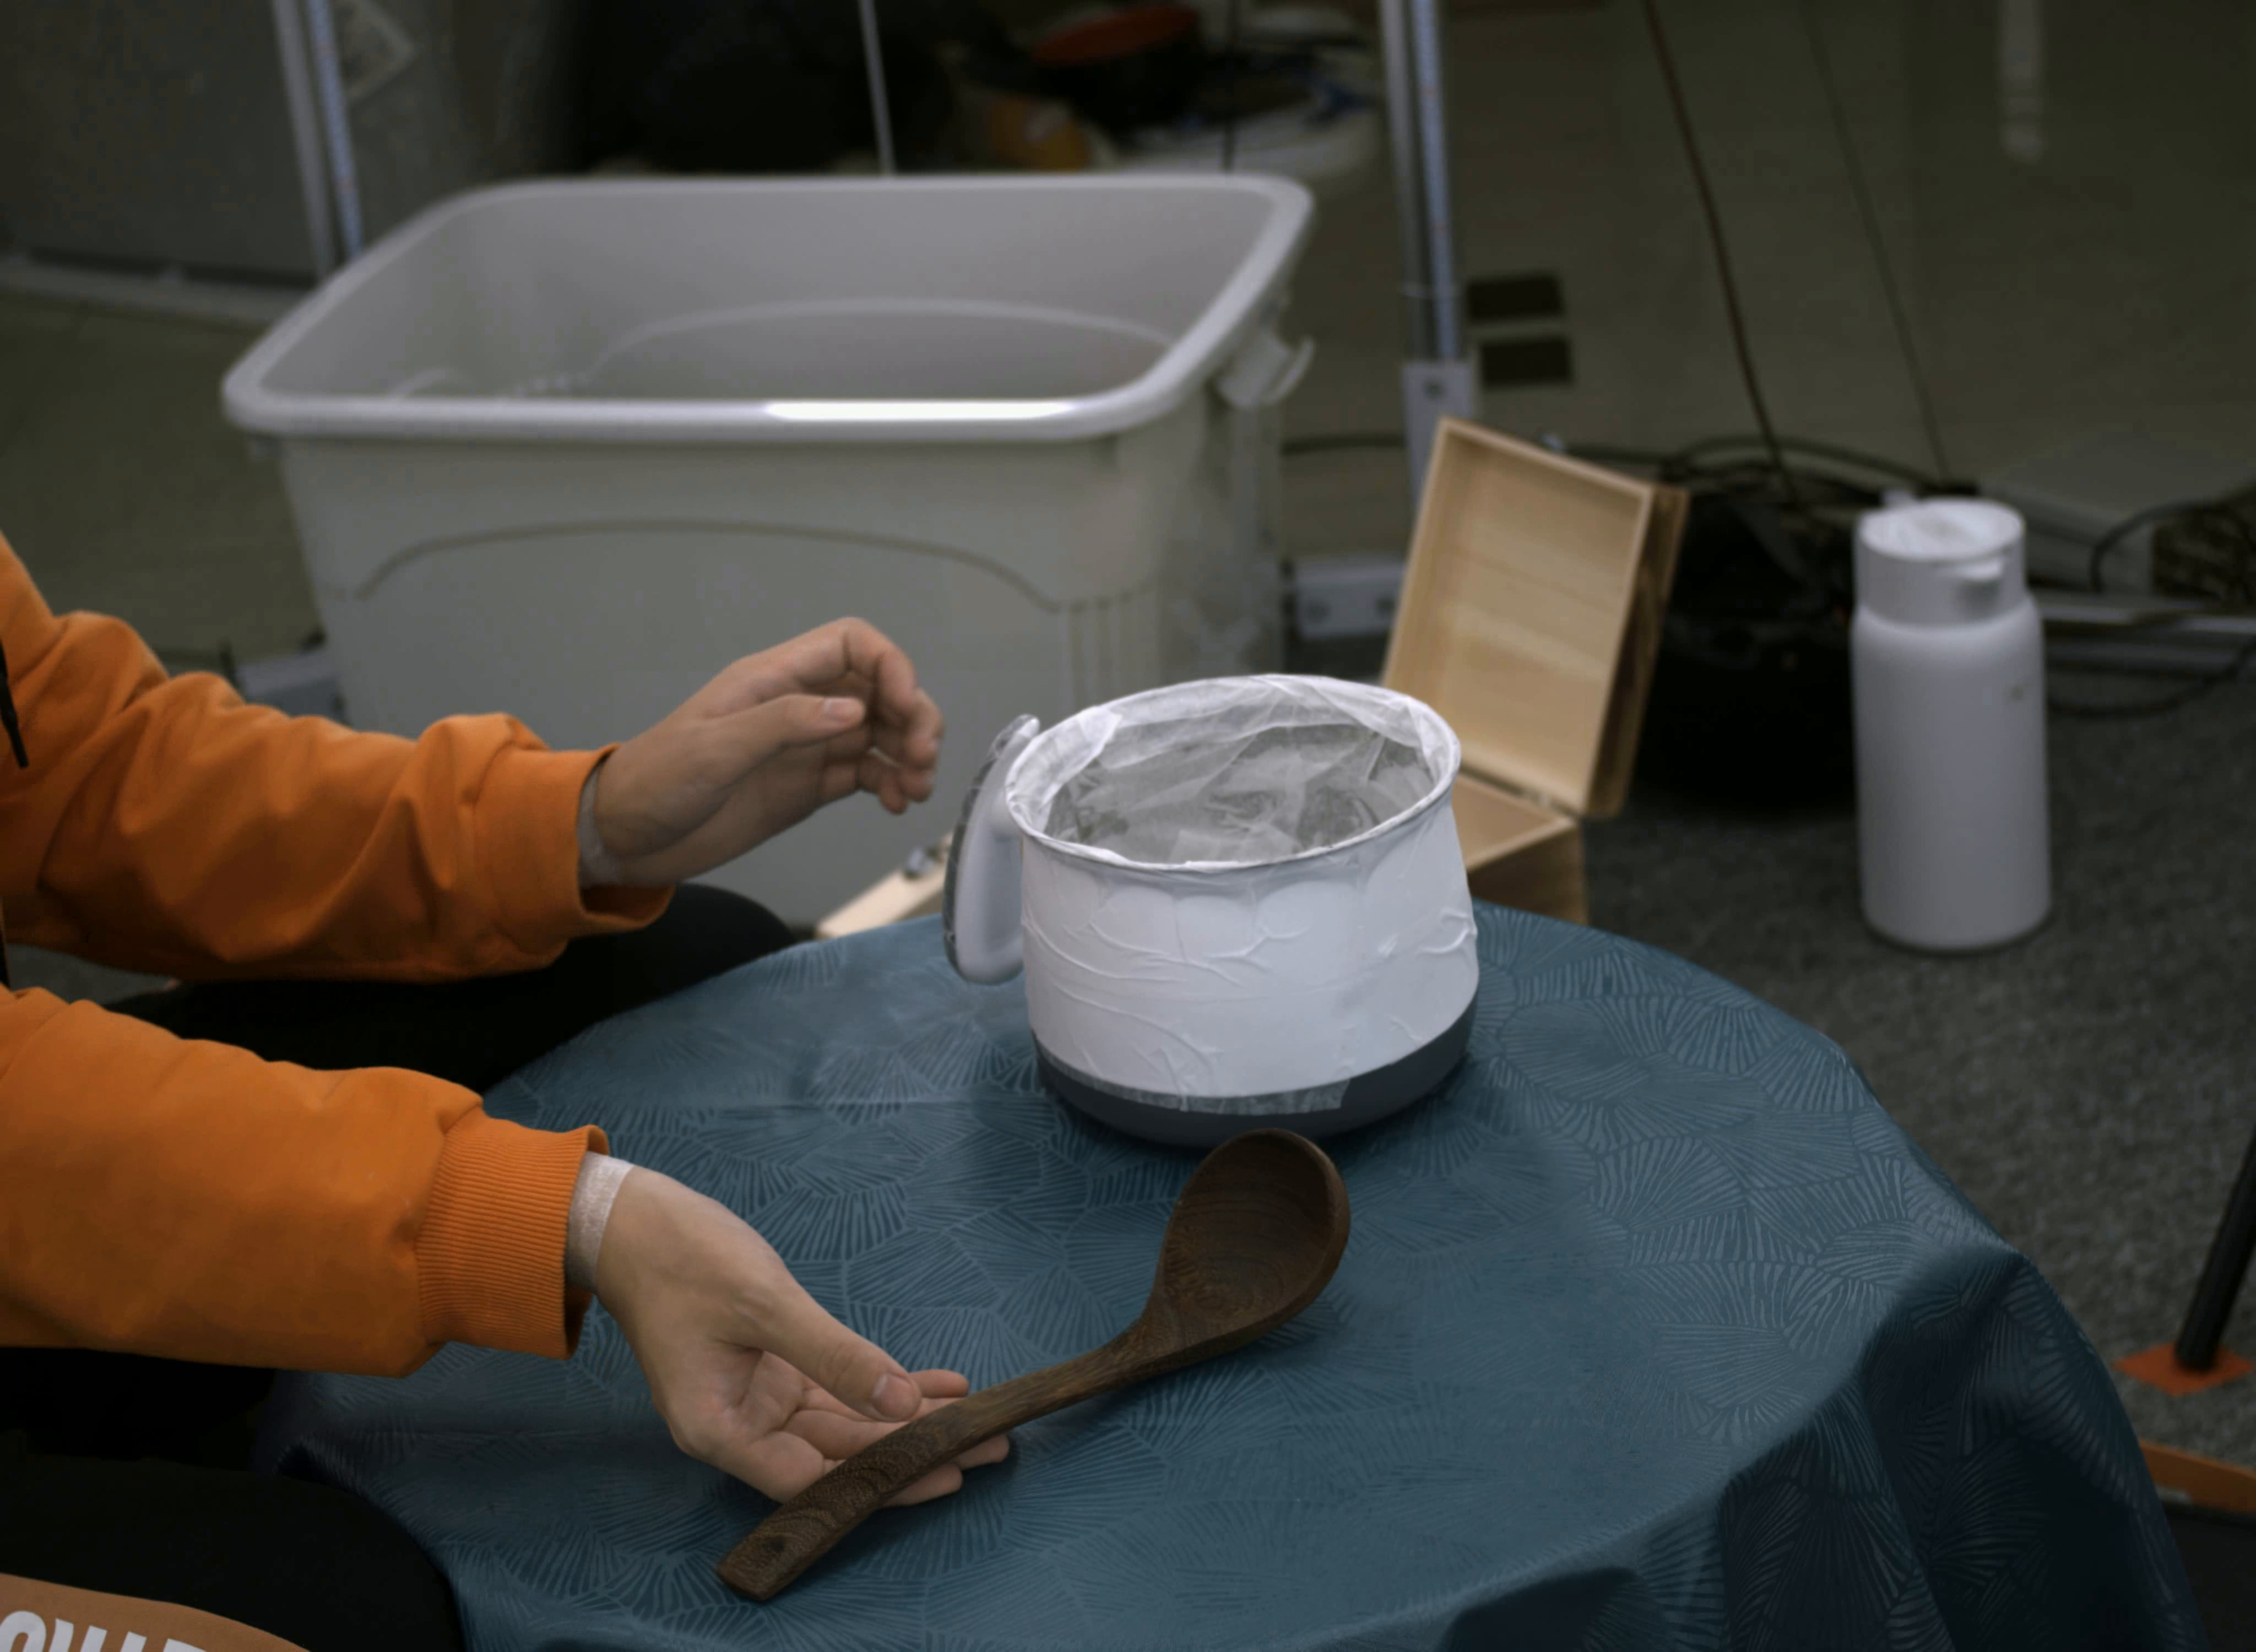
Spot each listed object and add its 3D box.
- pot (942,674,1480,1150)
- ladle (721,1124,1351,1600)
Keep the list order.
[{"bbox_3d":[0.023,0.030,2.209,0.232,0.139,0.177,11,30,32],"label":"pot"},{"bbox_3d":[-0.033,0.182,1.978,0.272,0.072,0.075,-24,30,-34],"label":"ladle"}]
